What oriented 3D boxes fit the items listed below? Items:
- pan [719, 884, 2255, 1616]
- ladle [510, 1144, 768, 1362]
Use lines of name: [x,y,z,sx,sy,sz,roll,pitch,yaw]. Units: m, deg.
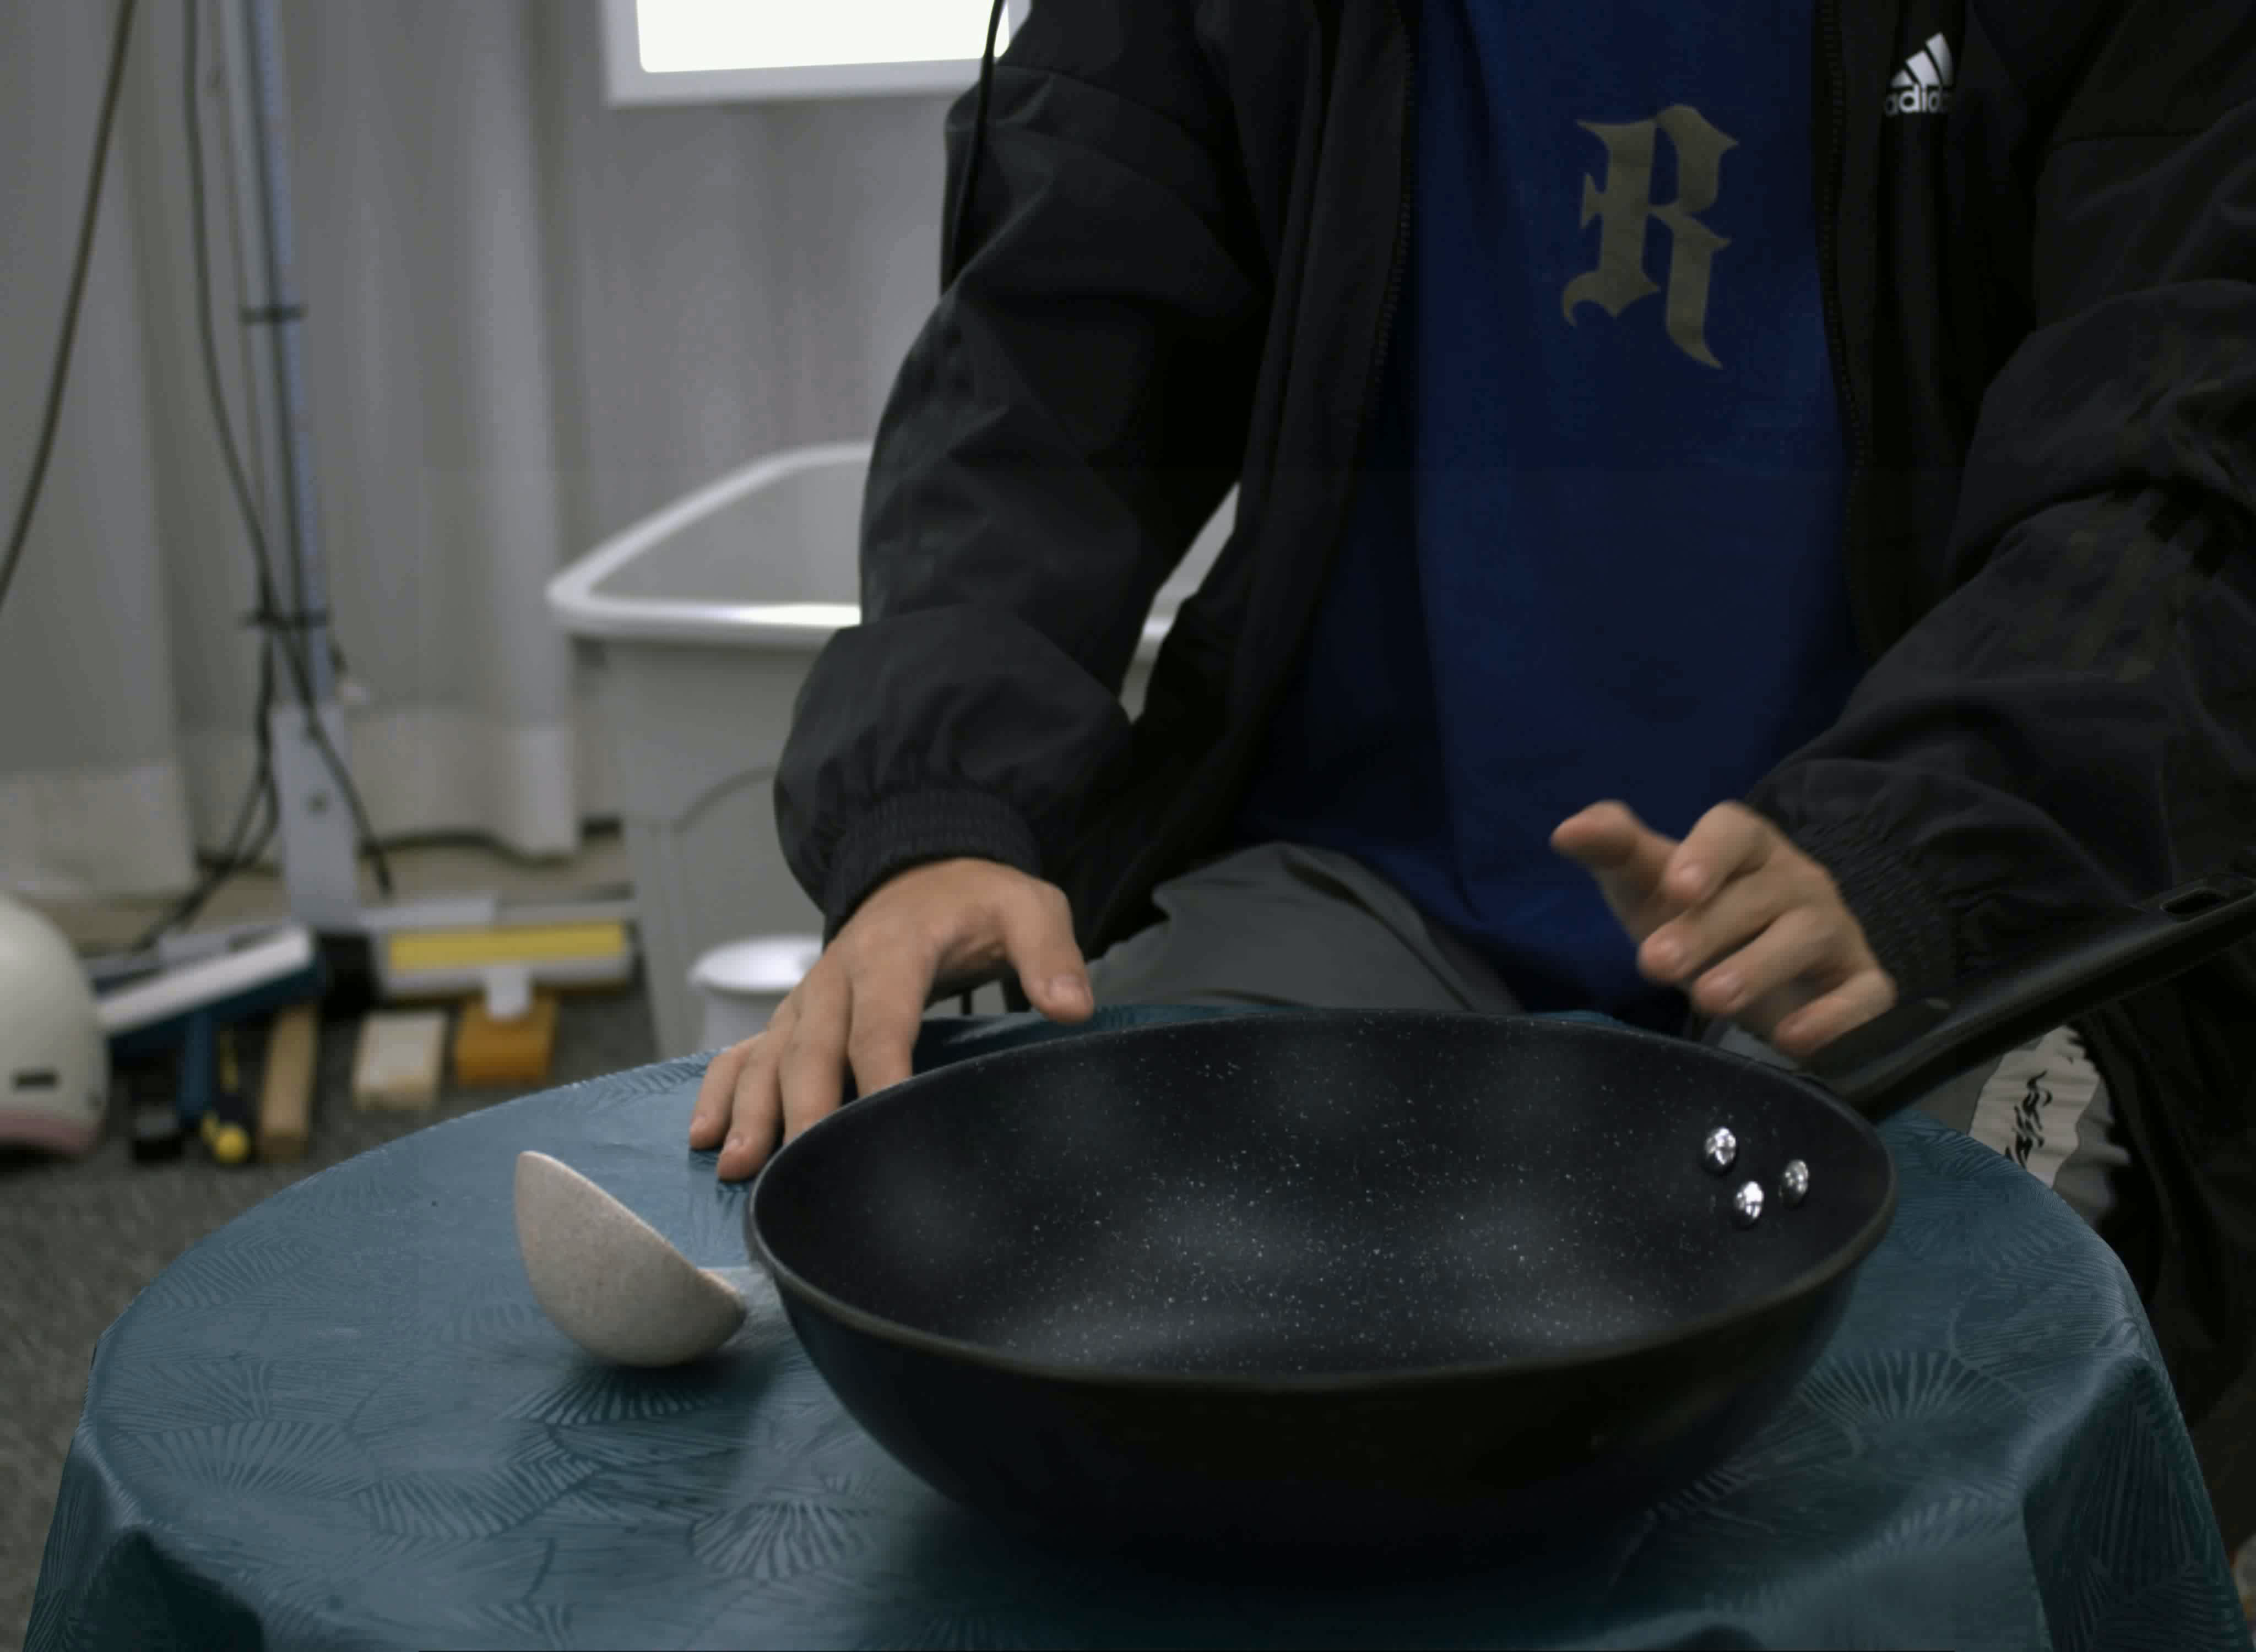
pan: [0.120,0.111,1.495,0.475,0.111,0.313,-11,18,-27]
ladle: [-0.059,0.102,1.637,0.274,0.069,0.089,-12,10,-37]
